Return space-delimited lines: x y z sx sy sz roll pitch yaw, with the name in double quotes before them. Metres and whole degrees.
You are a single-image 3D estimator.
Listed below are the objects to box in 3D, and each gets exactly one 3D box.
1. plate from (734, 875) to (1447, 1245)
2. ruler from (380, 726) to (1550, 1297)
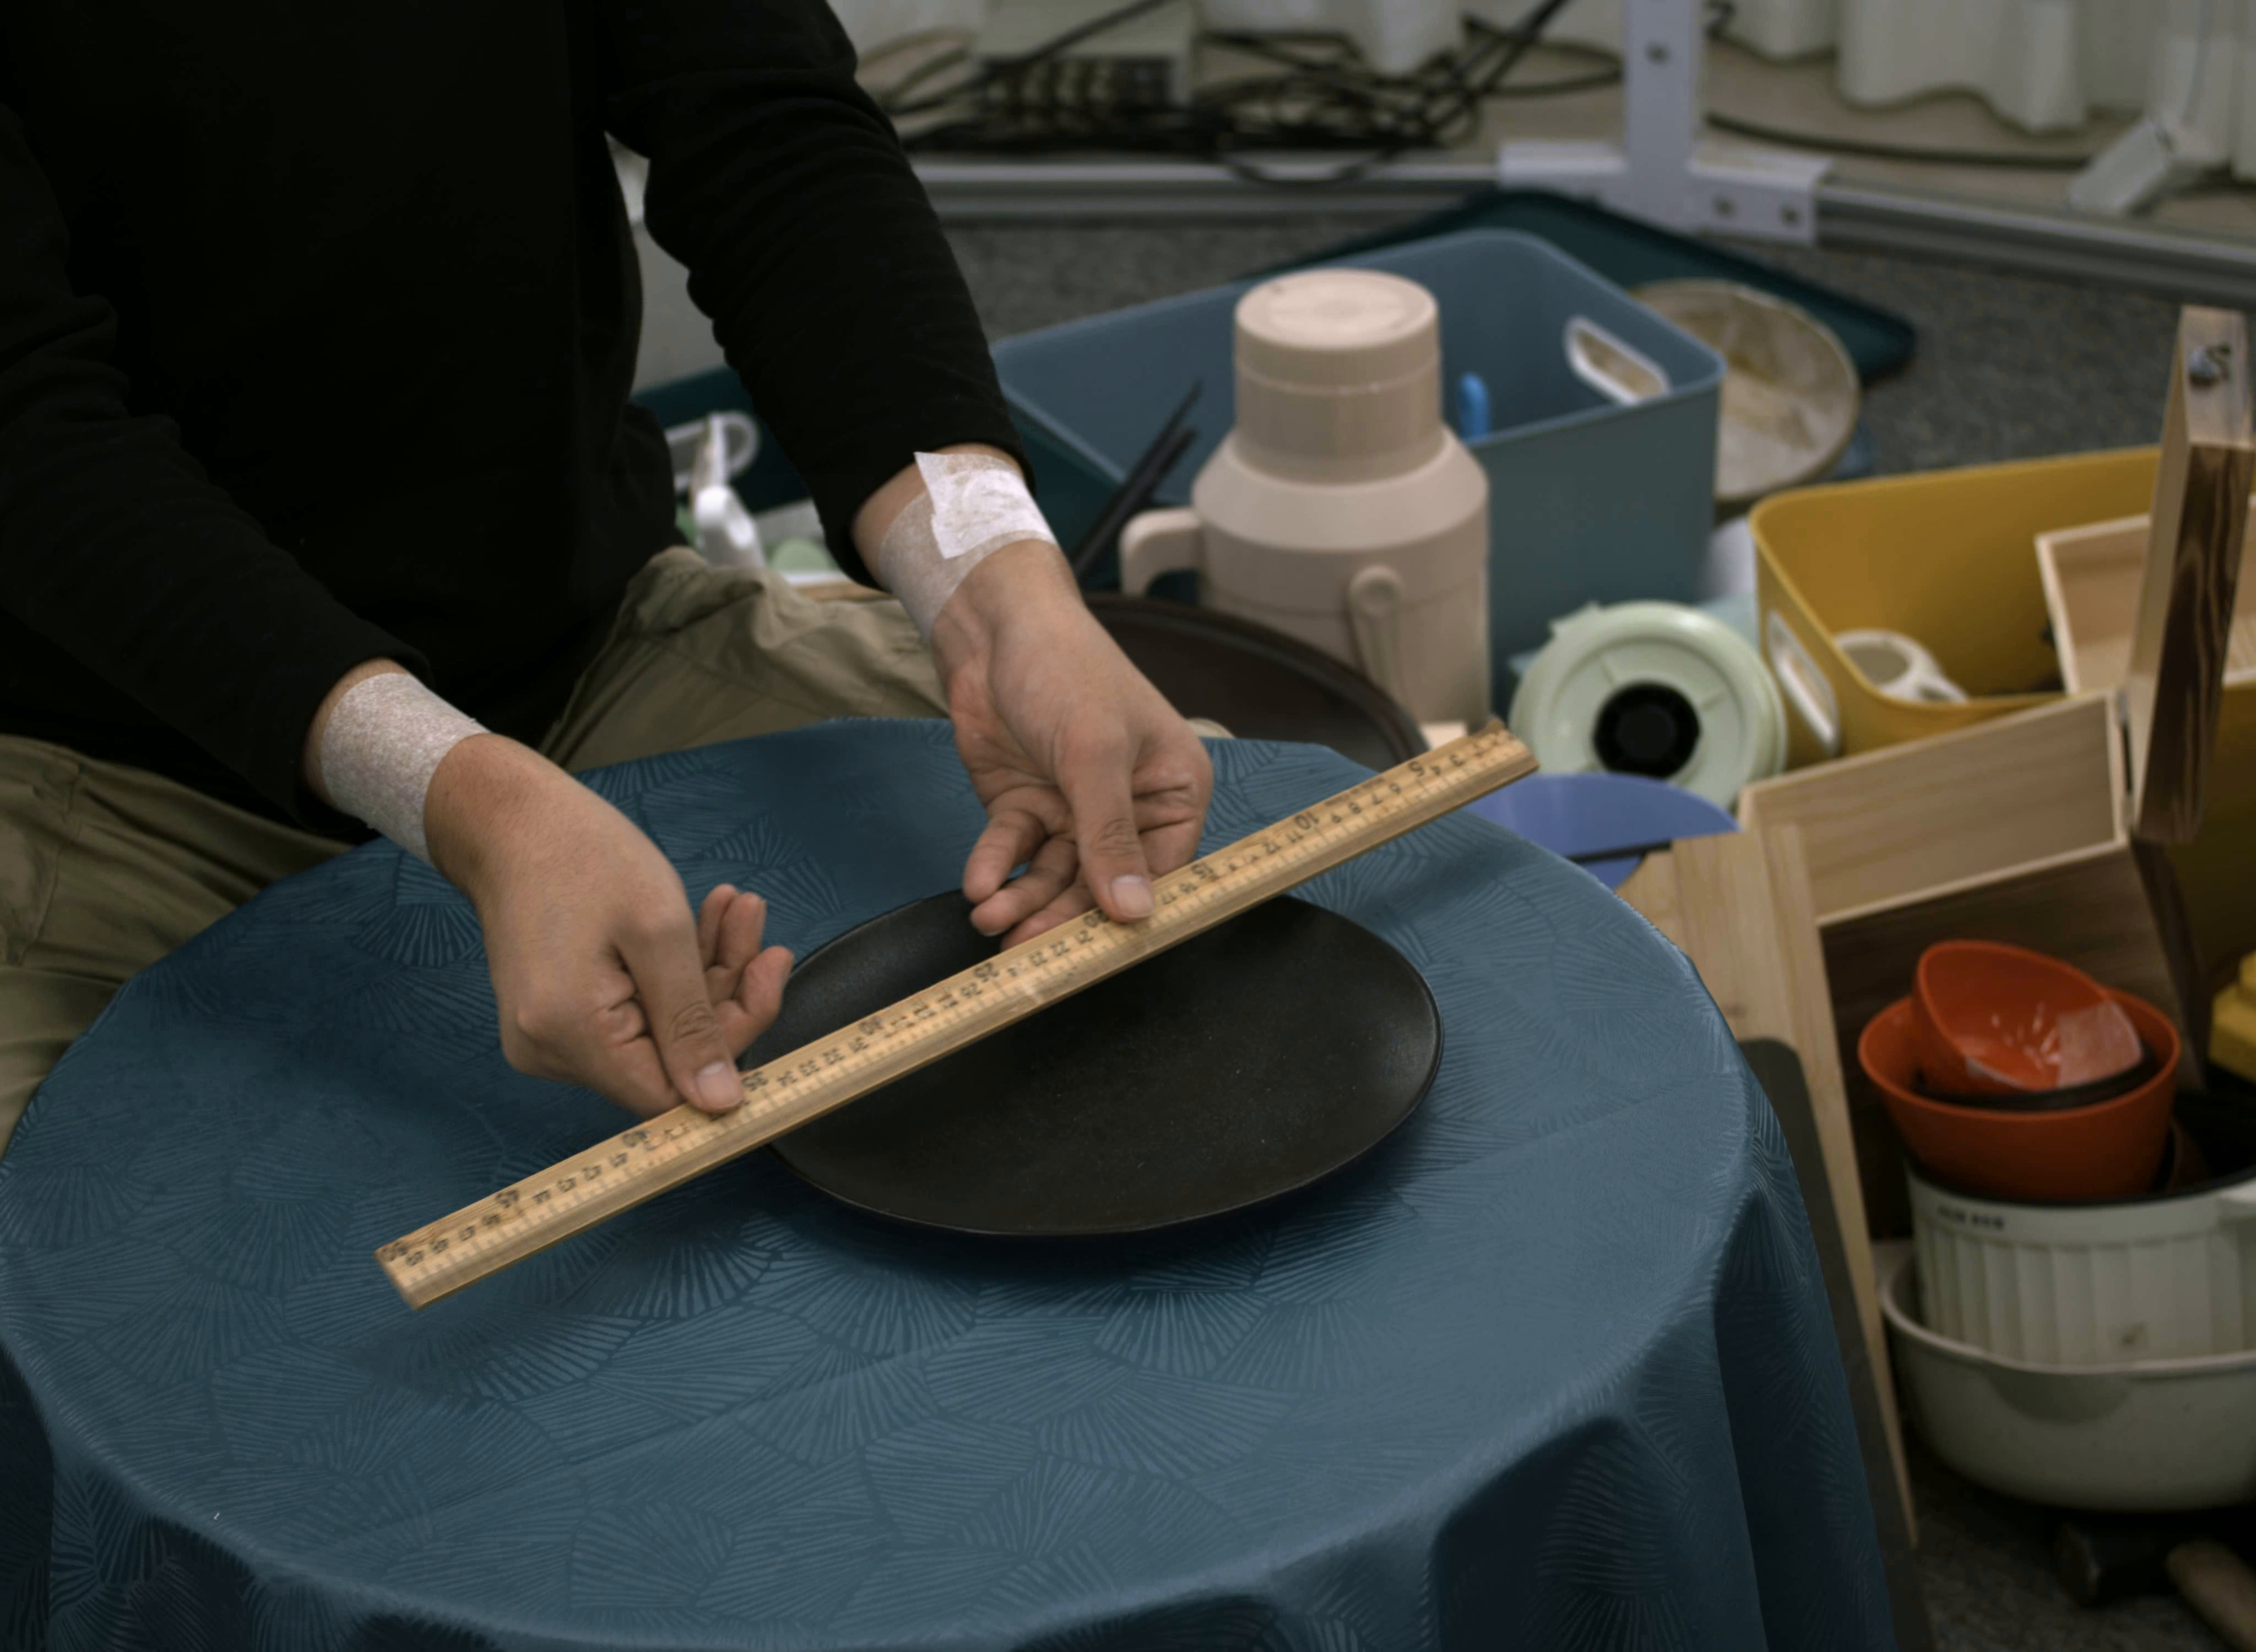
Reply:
"plate" -0.012 0.083 1.911 0.243 0.023 0.248 -2 27 2
"ruler" -0.042 0.055 1.914 0.506 0.006 0.027 -24 61 -35
